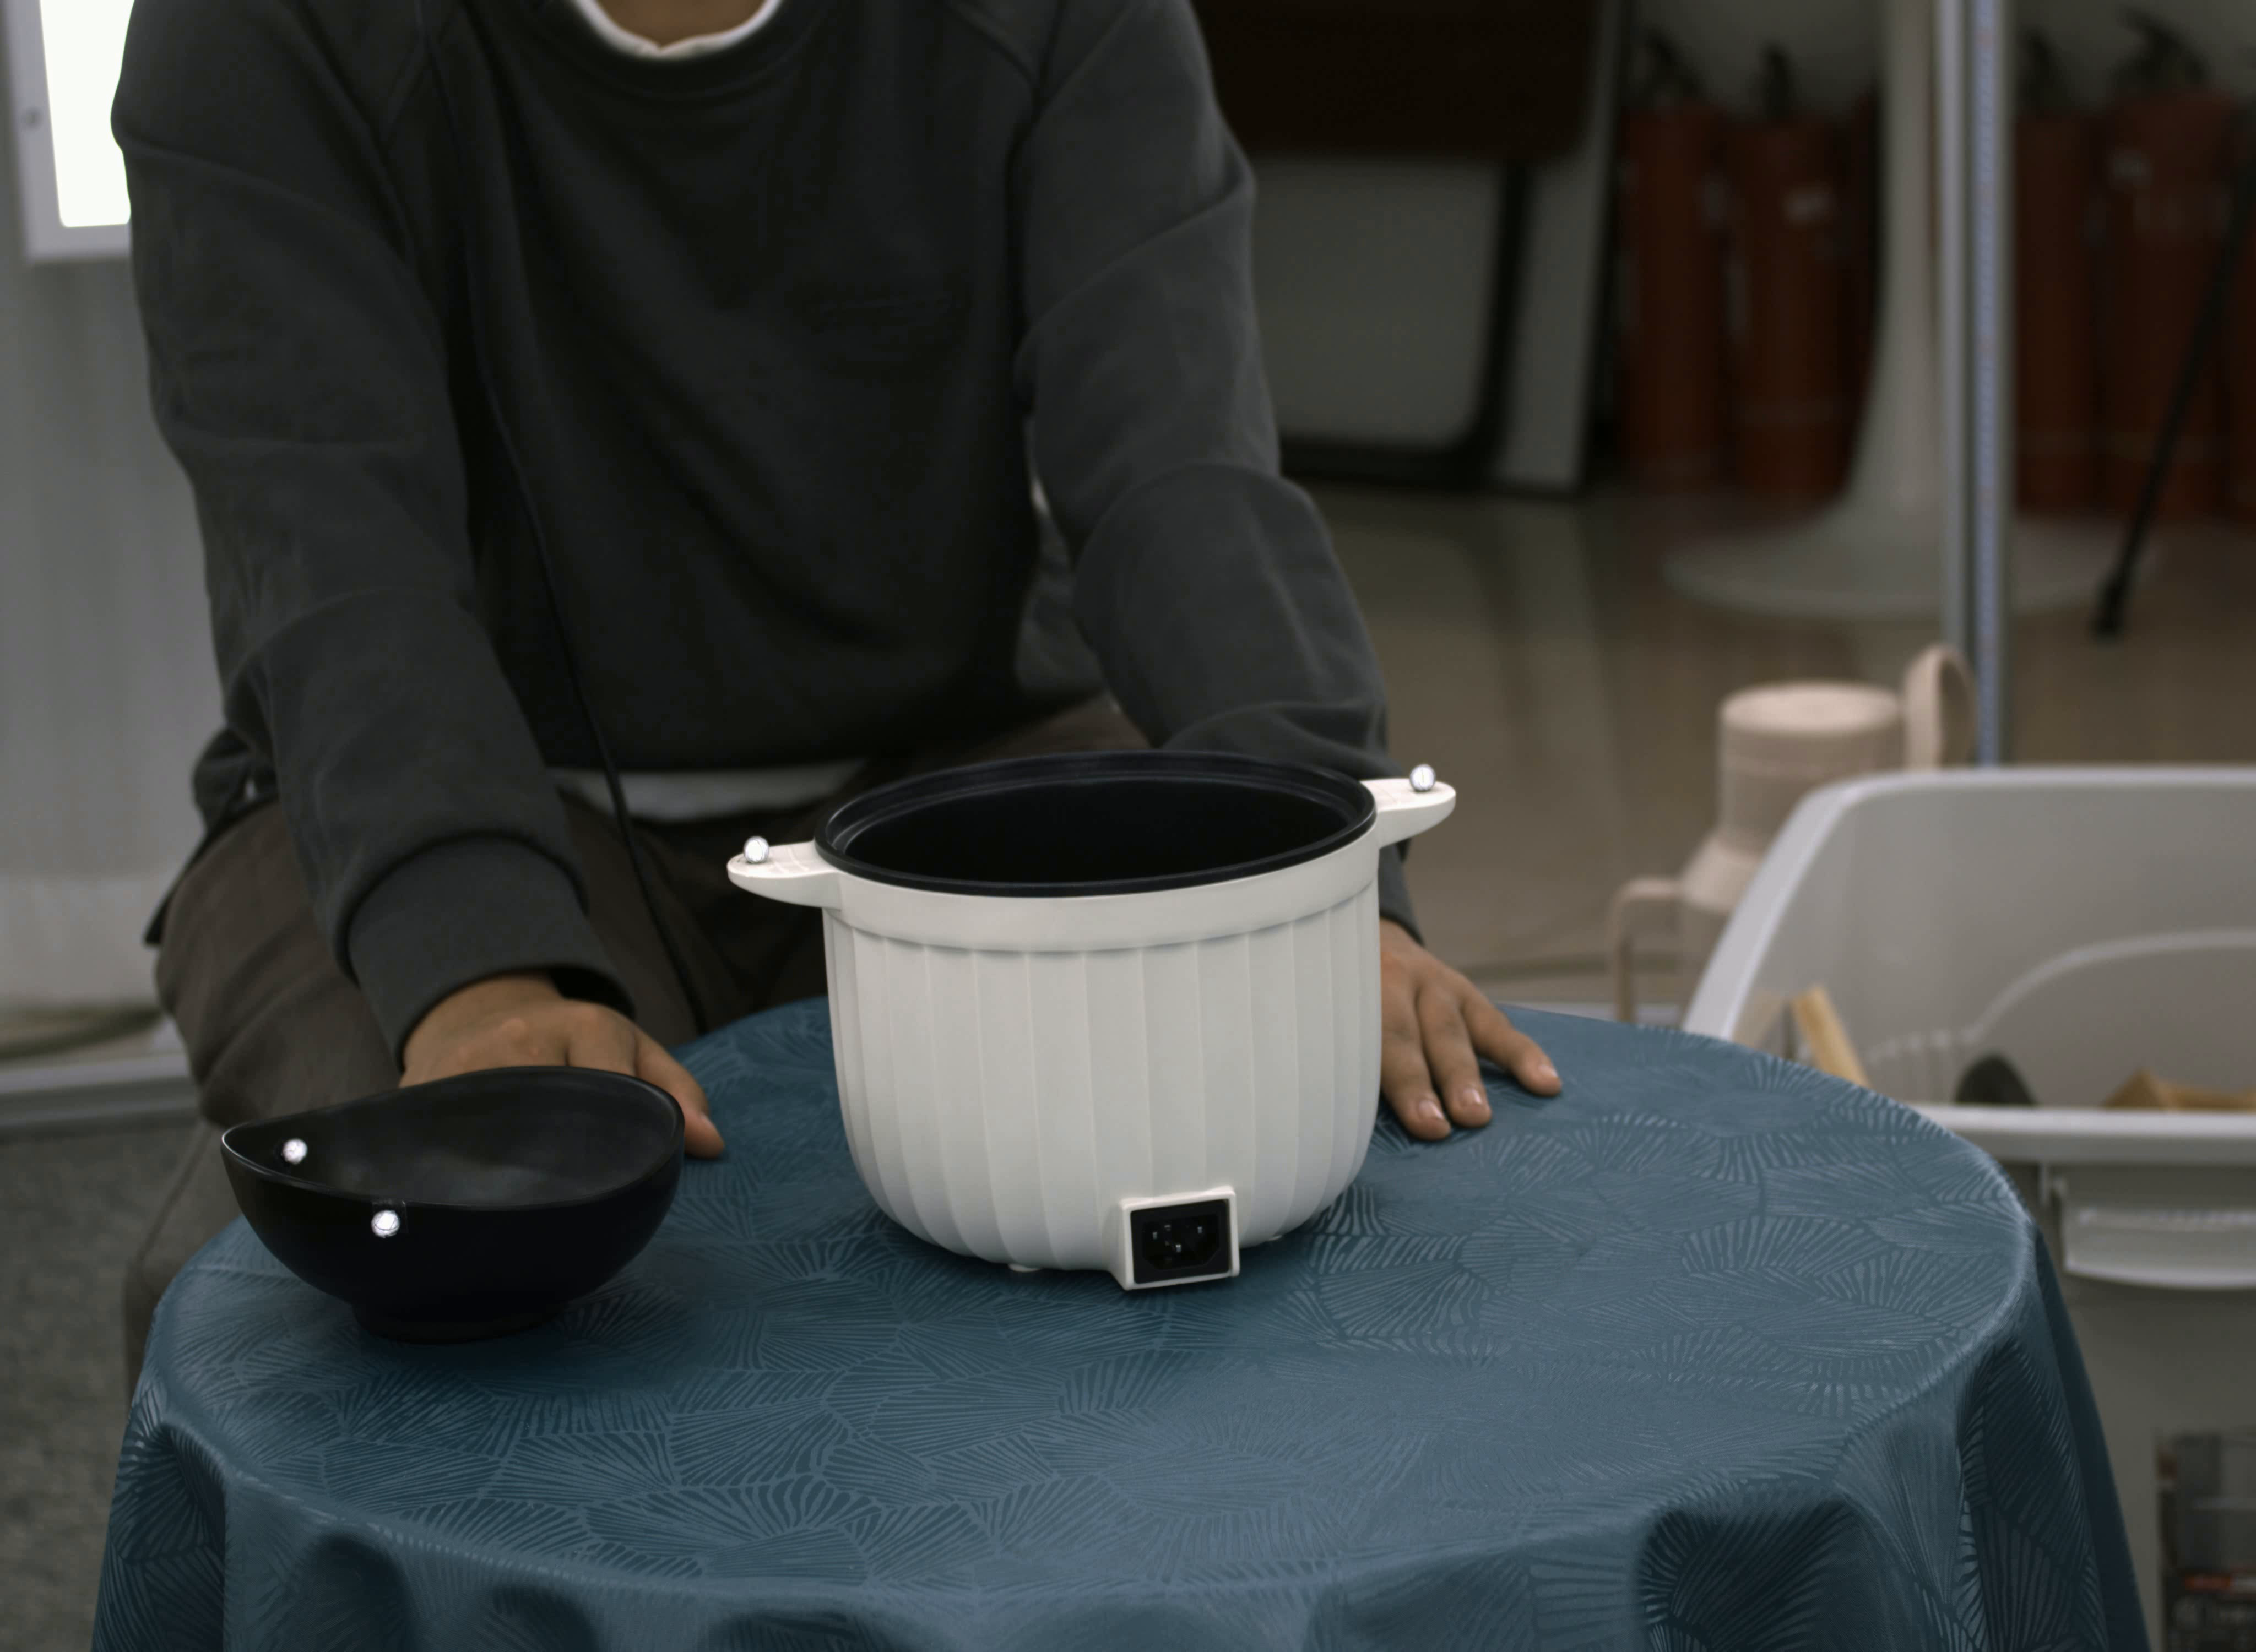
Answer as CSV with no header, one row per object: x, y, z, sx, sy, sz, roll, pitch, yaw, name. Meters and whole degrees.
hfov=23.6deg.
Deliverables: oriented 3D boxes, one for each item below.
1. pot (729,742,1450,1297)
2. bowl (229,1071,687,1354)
-0.010,0.059,1.738,0.236,0.144,0.192,-6,17,-13,pot
-0.208,0.124,1.688,0.134,0.067,0.172,-13,15,-34,bowl
